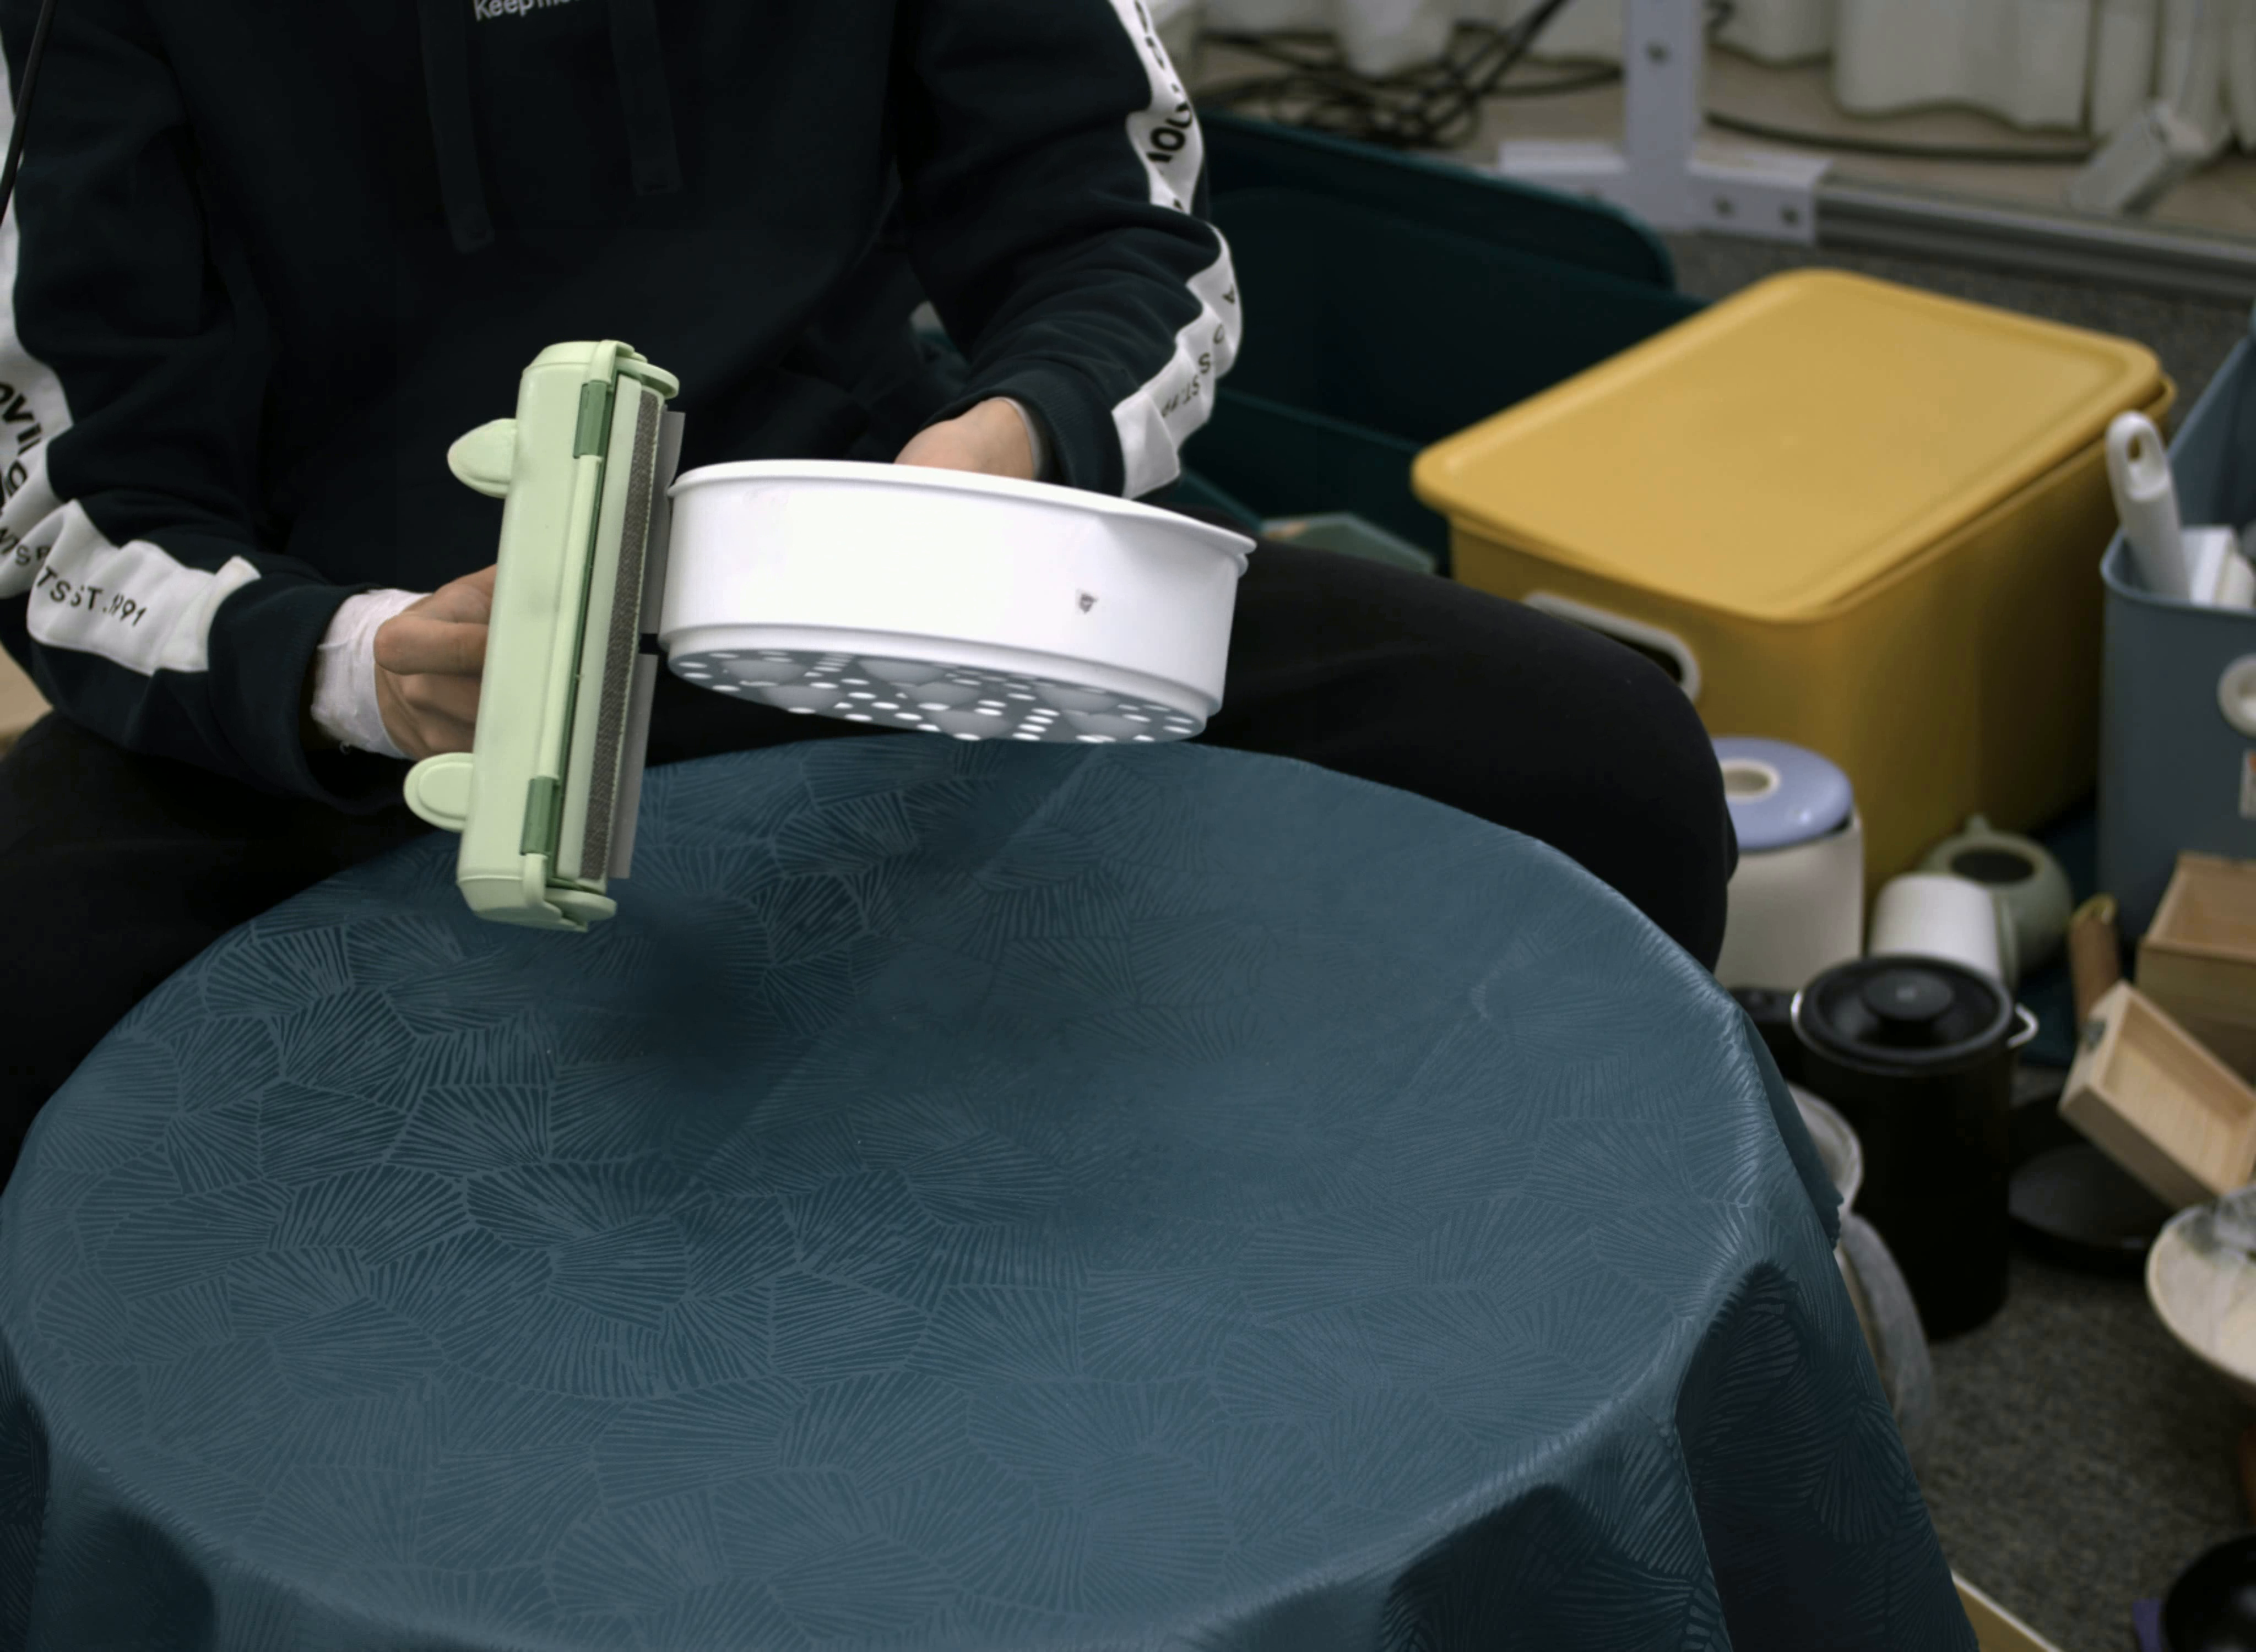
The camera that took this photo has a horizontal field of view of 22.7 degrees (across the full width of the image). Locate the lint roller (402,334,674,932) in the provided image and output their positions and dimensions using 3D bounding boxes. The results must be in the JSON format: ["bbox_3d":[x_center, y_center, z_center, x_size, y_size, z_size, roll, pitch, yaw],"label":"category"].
[{"bbox_3d":[-0.215,-0.059,1.939,0.082,0.201,0.181,11,-12,-21],"label":"lint roller"}]

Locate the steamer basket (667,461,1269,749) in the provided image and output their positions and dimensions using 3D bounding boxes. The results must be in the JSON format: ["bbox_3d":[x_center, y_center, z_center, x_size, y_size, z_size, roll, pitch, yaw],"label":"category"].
[{"bbox_3d":[-0.058,-0.071,1.911,0.228,0.070,0.202,3,-7,39],"label":"steamer basket"}]
